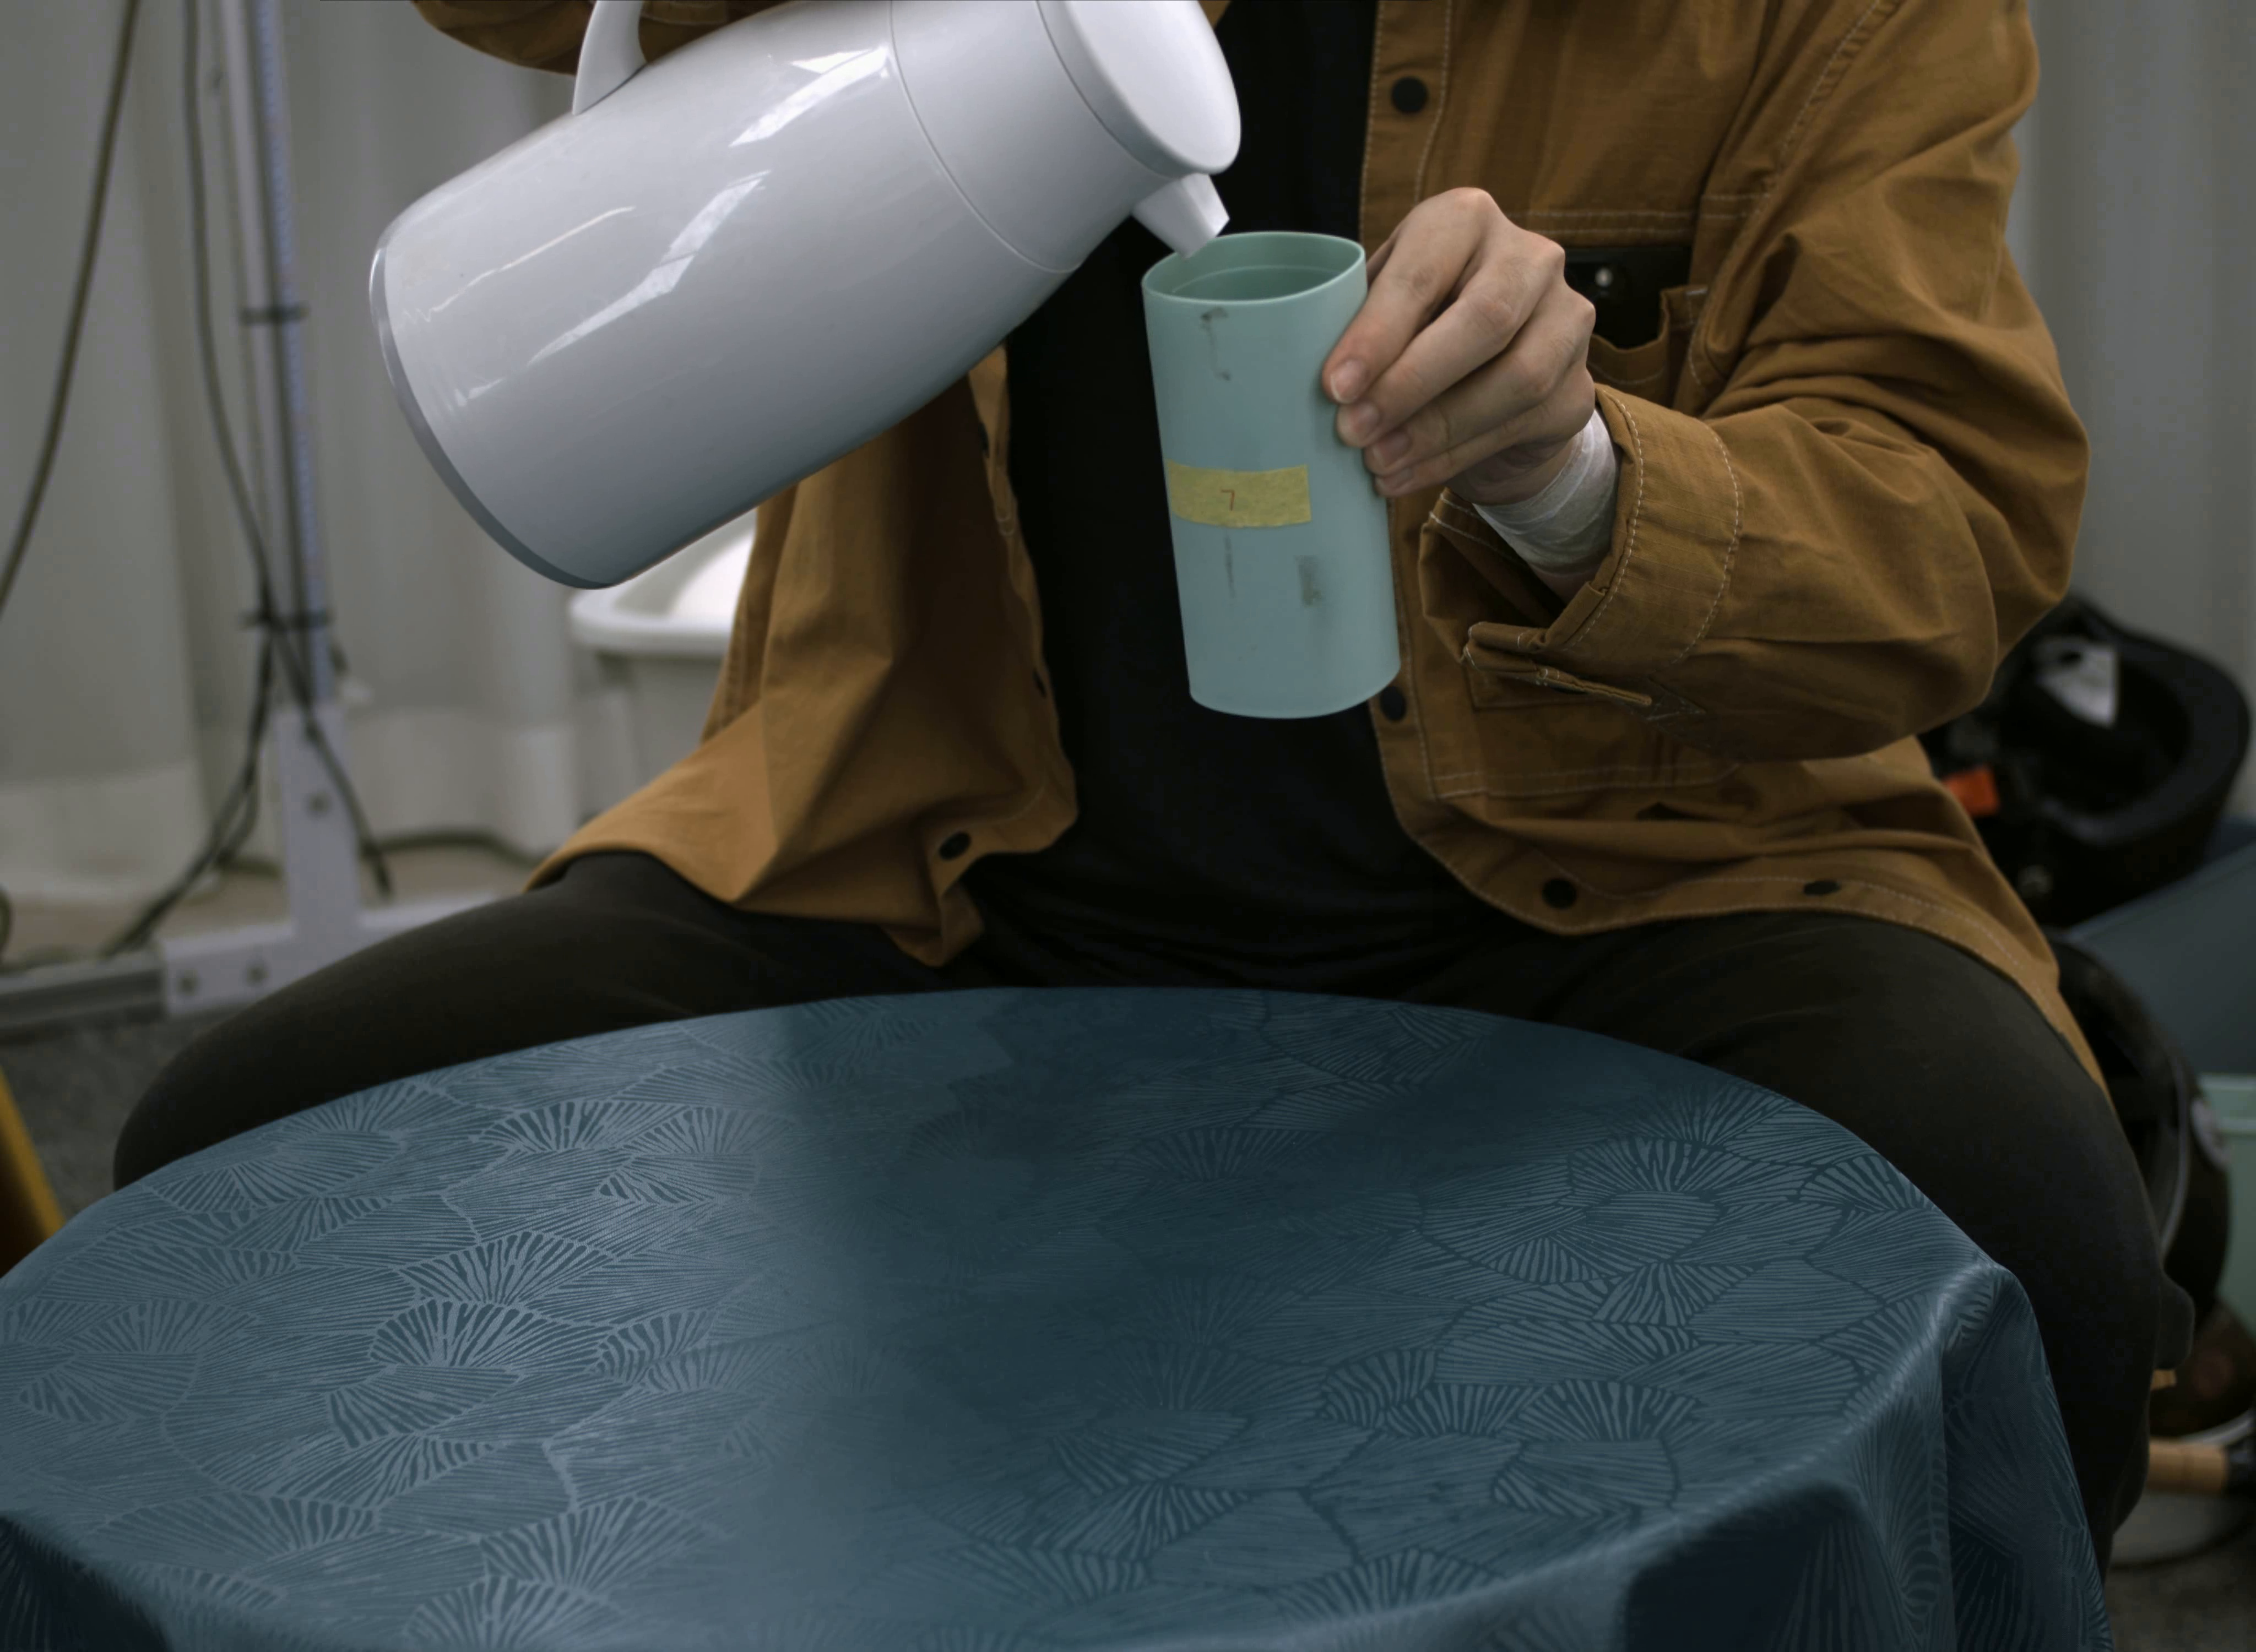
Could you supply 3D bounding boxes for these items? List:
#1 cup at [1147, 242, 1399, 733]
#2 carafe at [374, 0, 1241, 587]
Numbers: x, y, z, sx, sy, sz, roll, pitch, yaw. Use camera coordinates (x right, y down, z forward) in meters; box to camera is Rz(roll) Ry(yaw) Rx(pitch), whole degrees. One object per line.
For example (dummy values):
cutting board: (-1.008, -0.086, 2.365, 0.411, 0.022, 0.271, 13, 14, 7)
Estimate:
cup: (0.044, -0.101, 1.617, 0.066, 0.131, 0.067, -5, 22, 2)
carafe: (-0.098, -0.197, 1.616, 0.247, 0.167, 0.133, -28, 14, 25)
